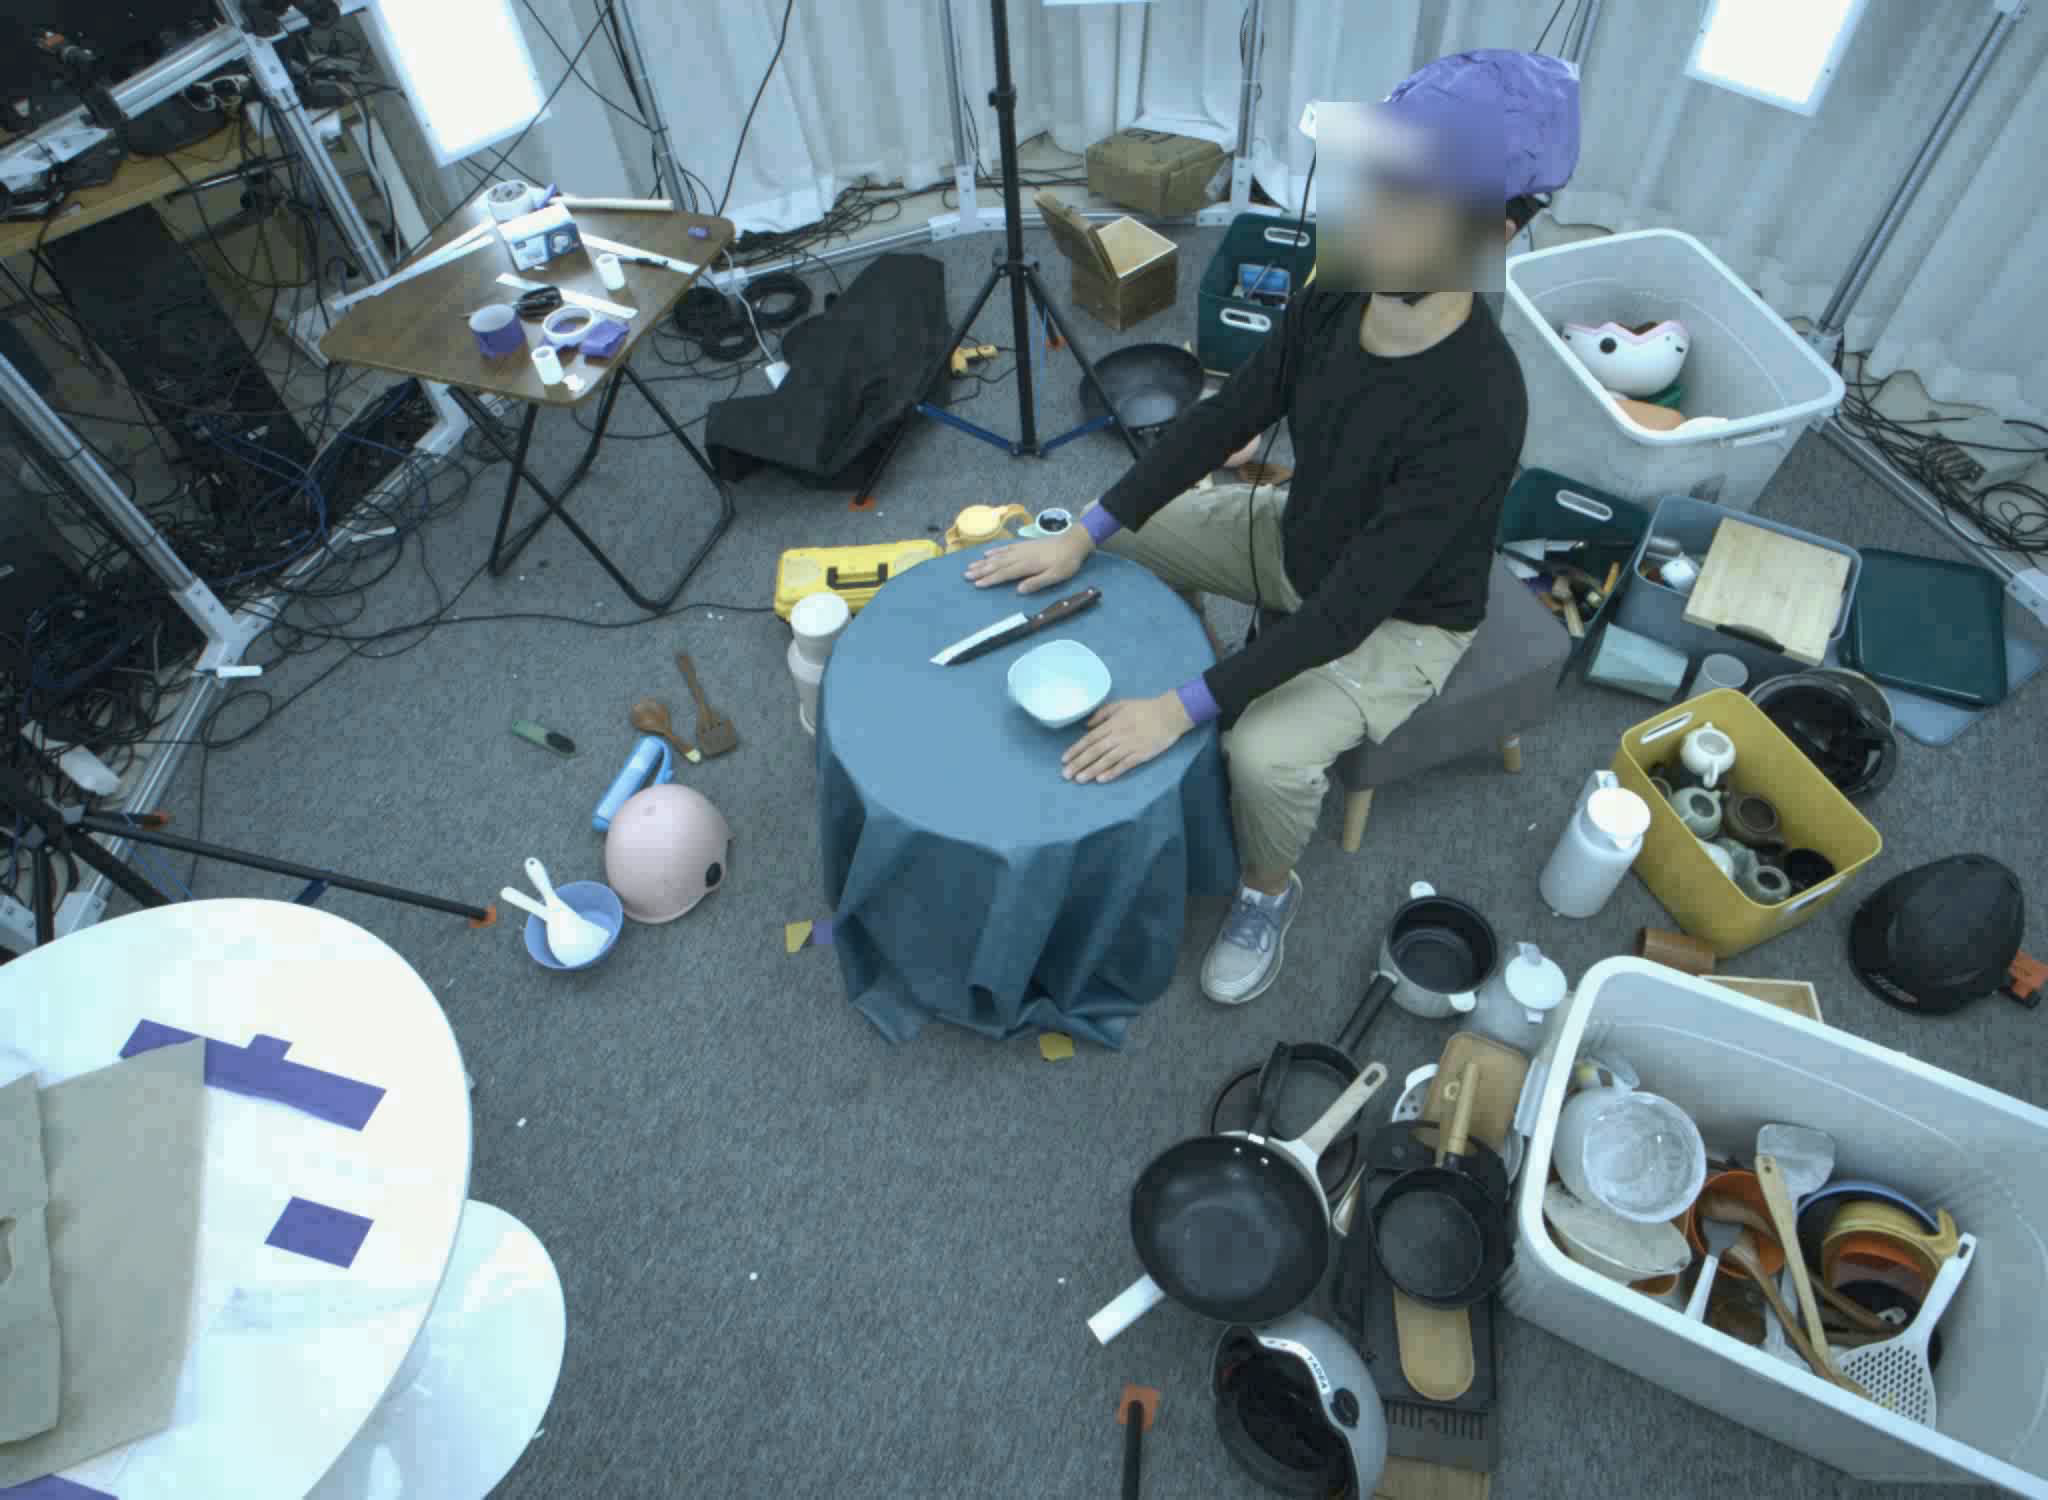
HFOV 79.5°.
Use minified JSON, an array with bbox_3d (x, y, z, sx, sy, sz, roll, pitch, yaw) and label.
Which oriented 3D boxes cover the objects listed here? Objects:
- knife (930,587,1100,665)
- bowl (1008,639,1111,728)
[{"bbox_3d":[-0.013,-0.191,1.912,0.291,0.020,0.049,-24,52,-12],"label":"knife"},{"bbox_3d":[0.053,-0.087,1.809,0.151,0.059,0.150,-2,55,3],"label":"bowl"}]
